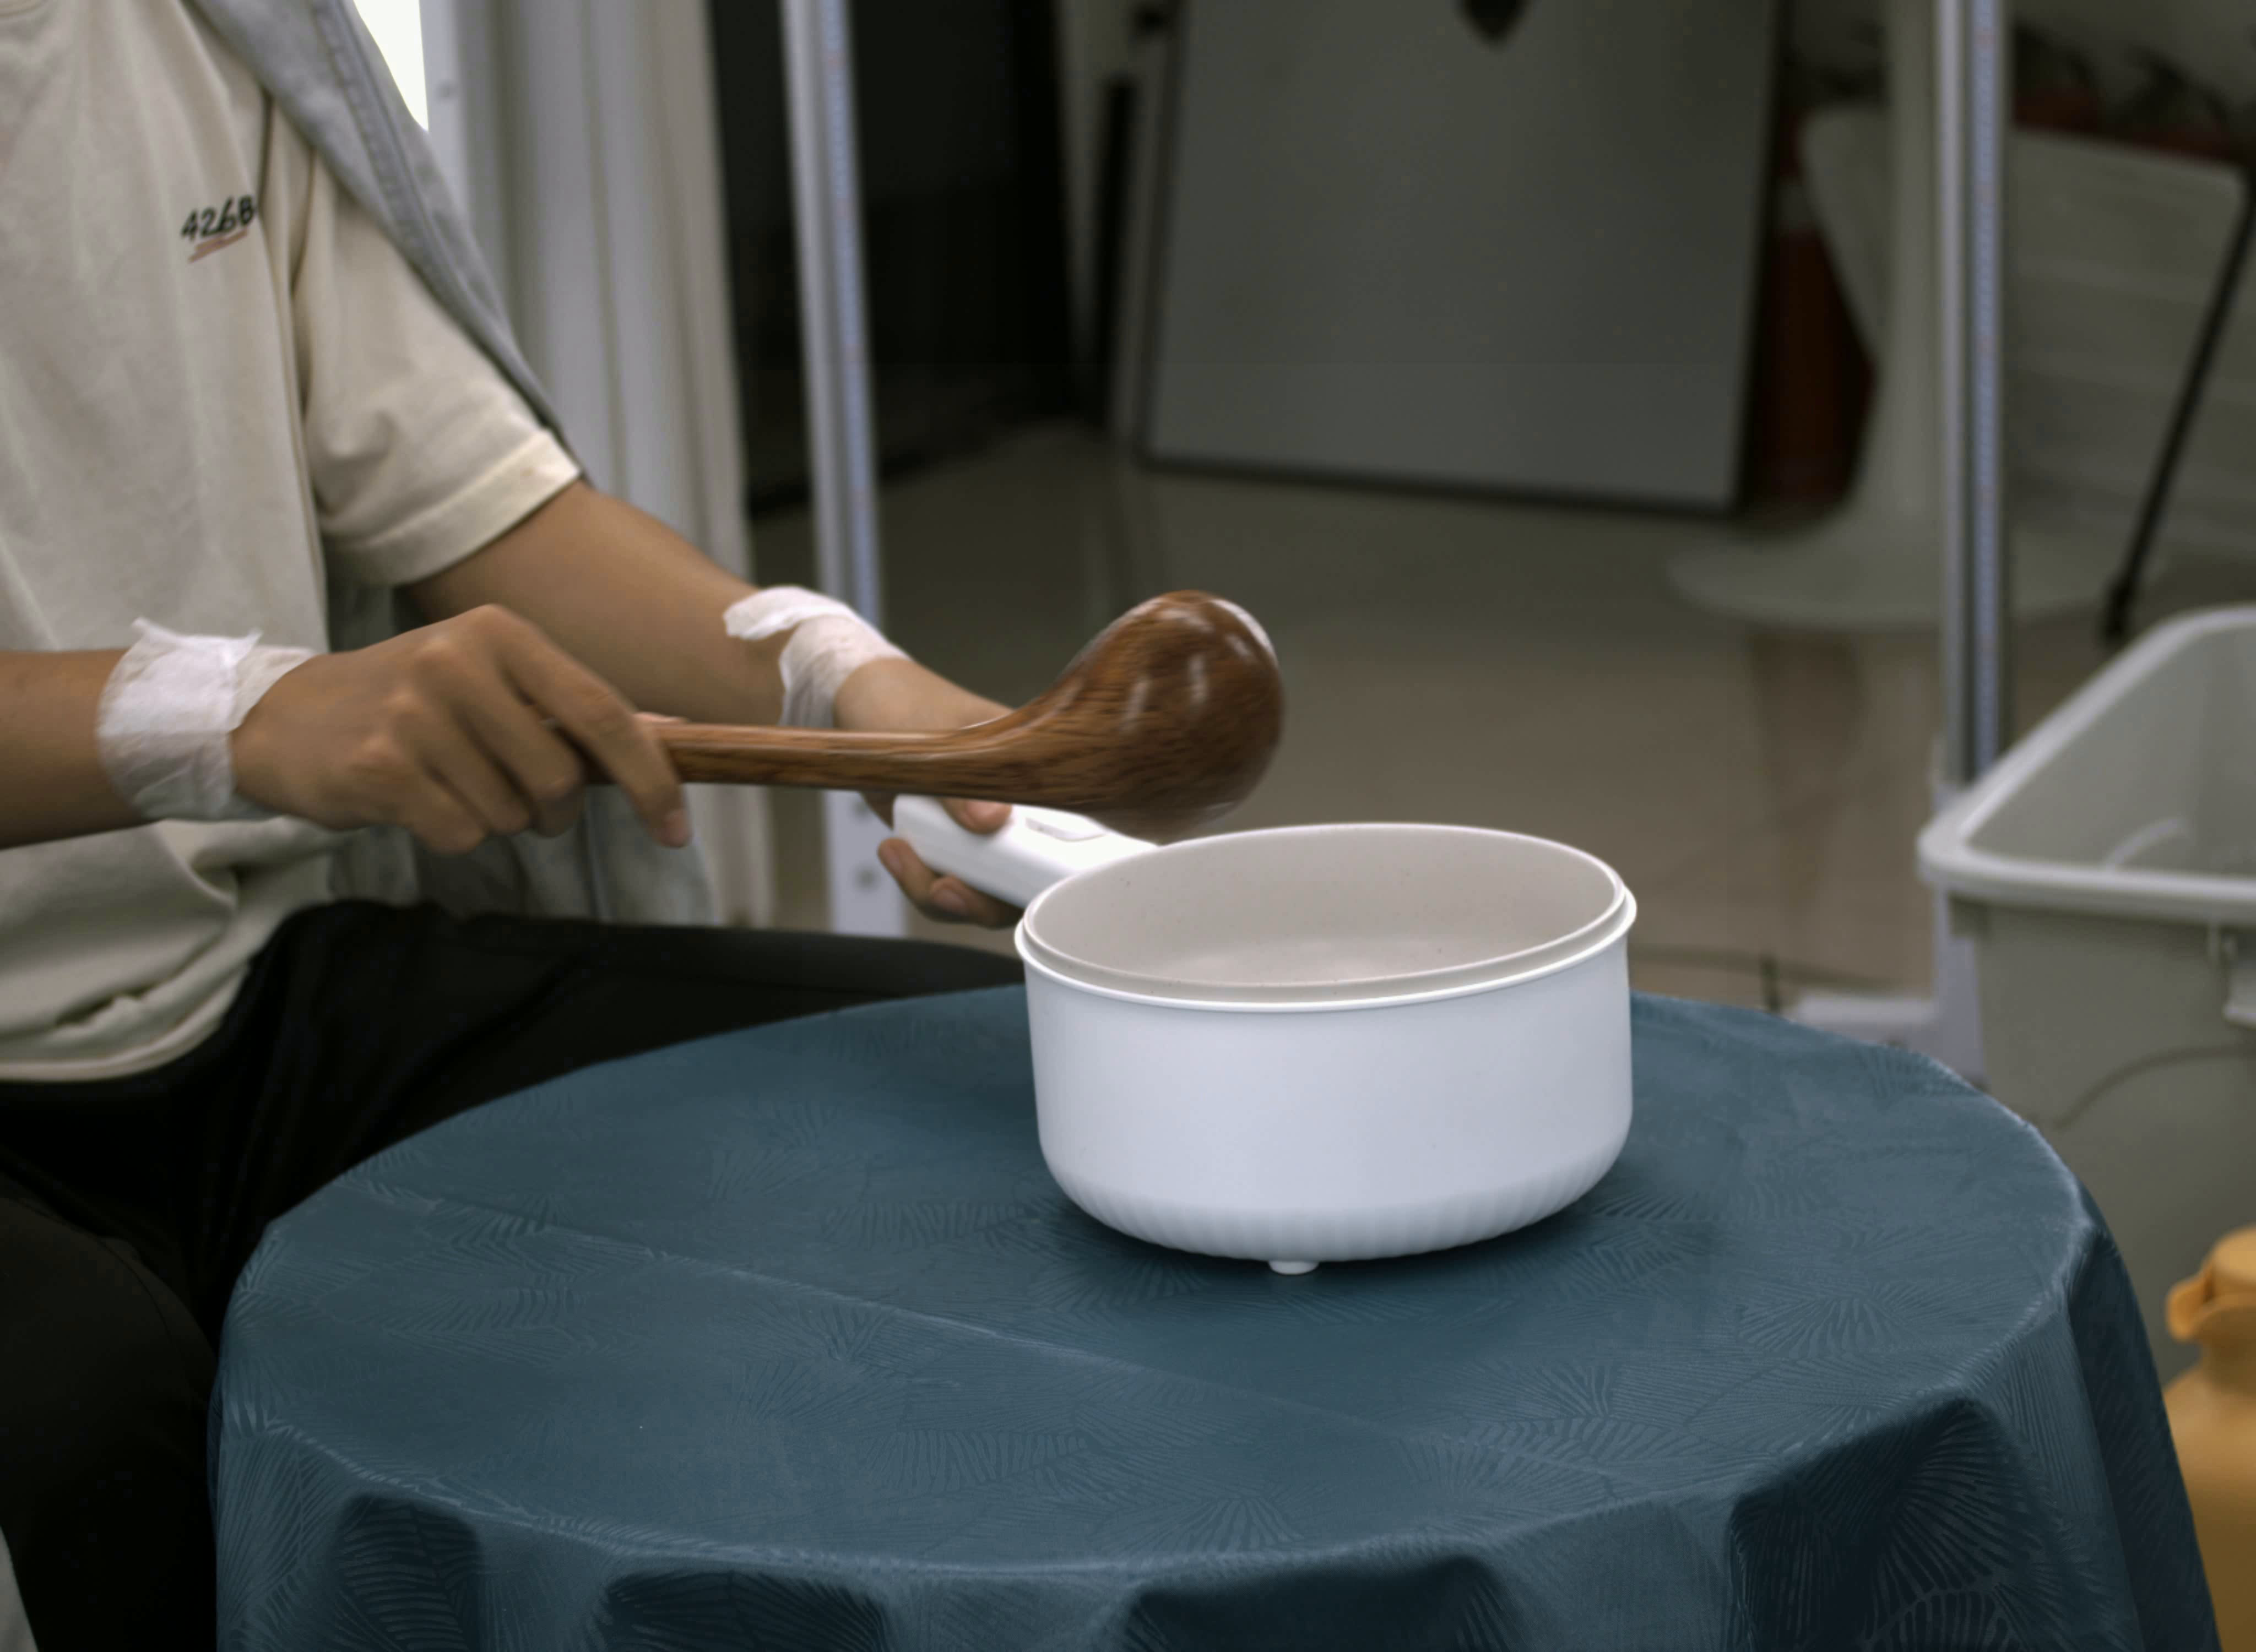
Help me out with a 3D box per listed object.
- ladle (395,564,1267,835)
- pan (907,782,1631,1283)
[{"bbox_3d":[-0.092,-0.032,1.681,0.273,0.082,0.076,-4,17,19],"label":"ladle"},{"bbox_3d":[0.026,0.061,1.807,0.197,0.103,0.358,-13,15,-28],"label":"pan"}]
